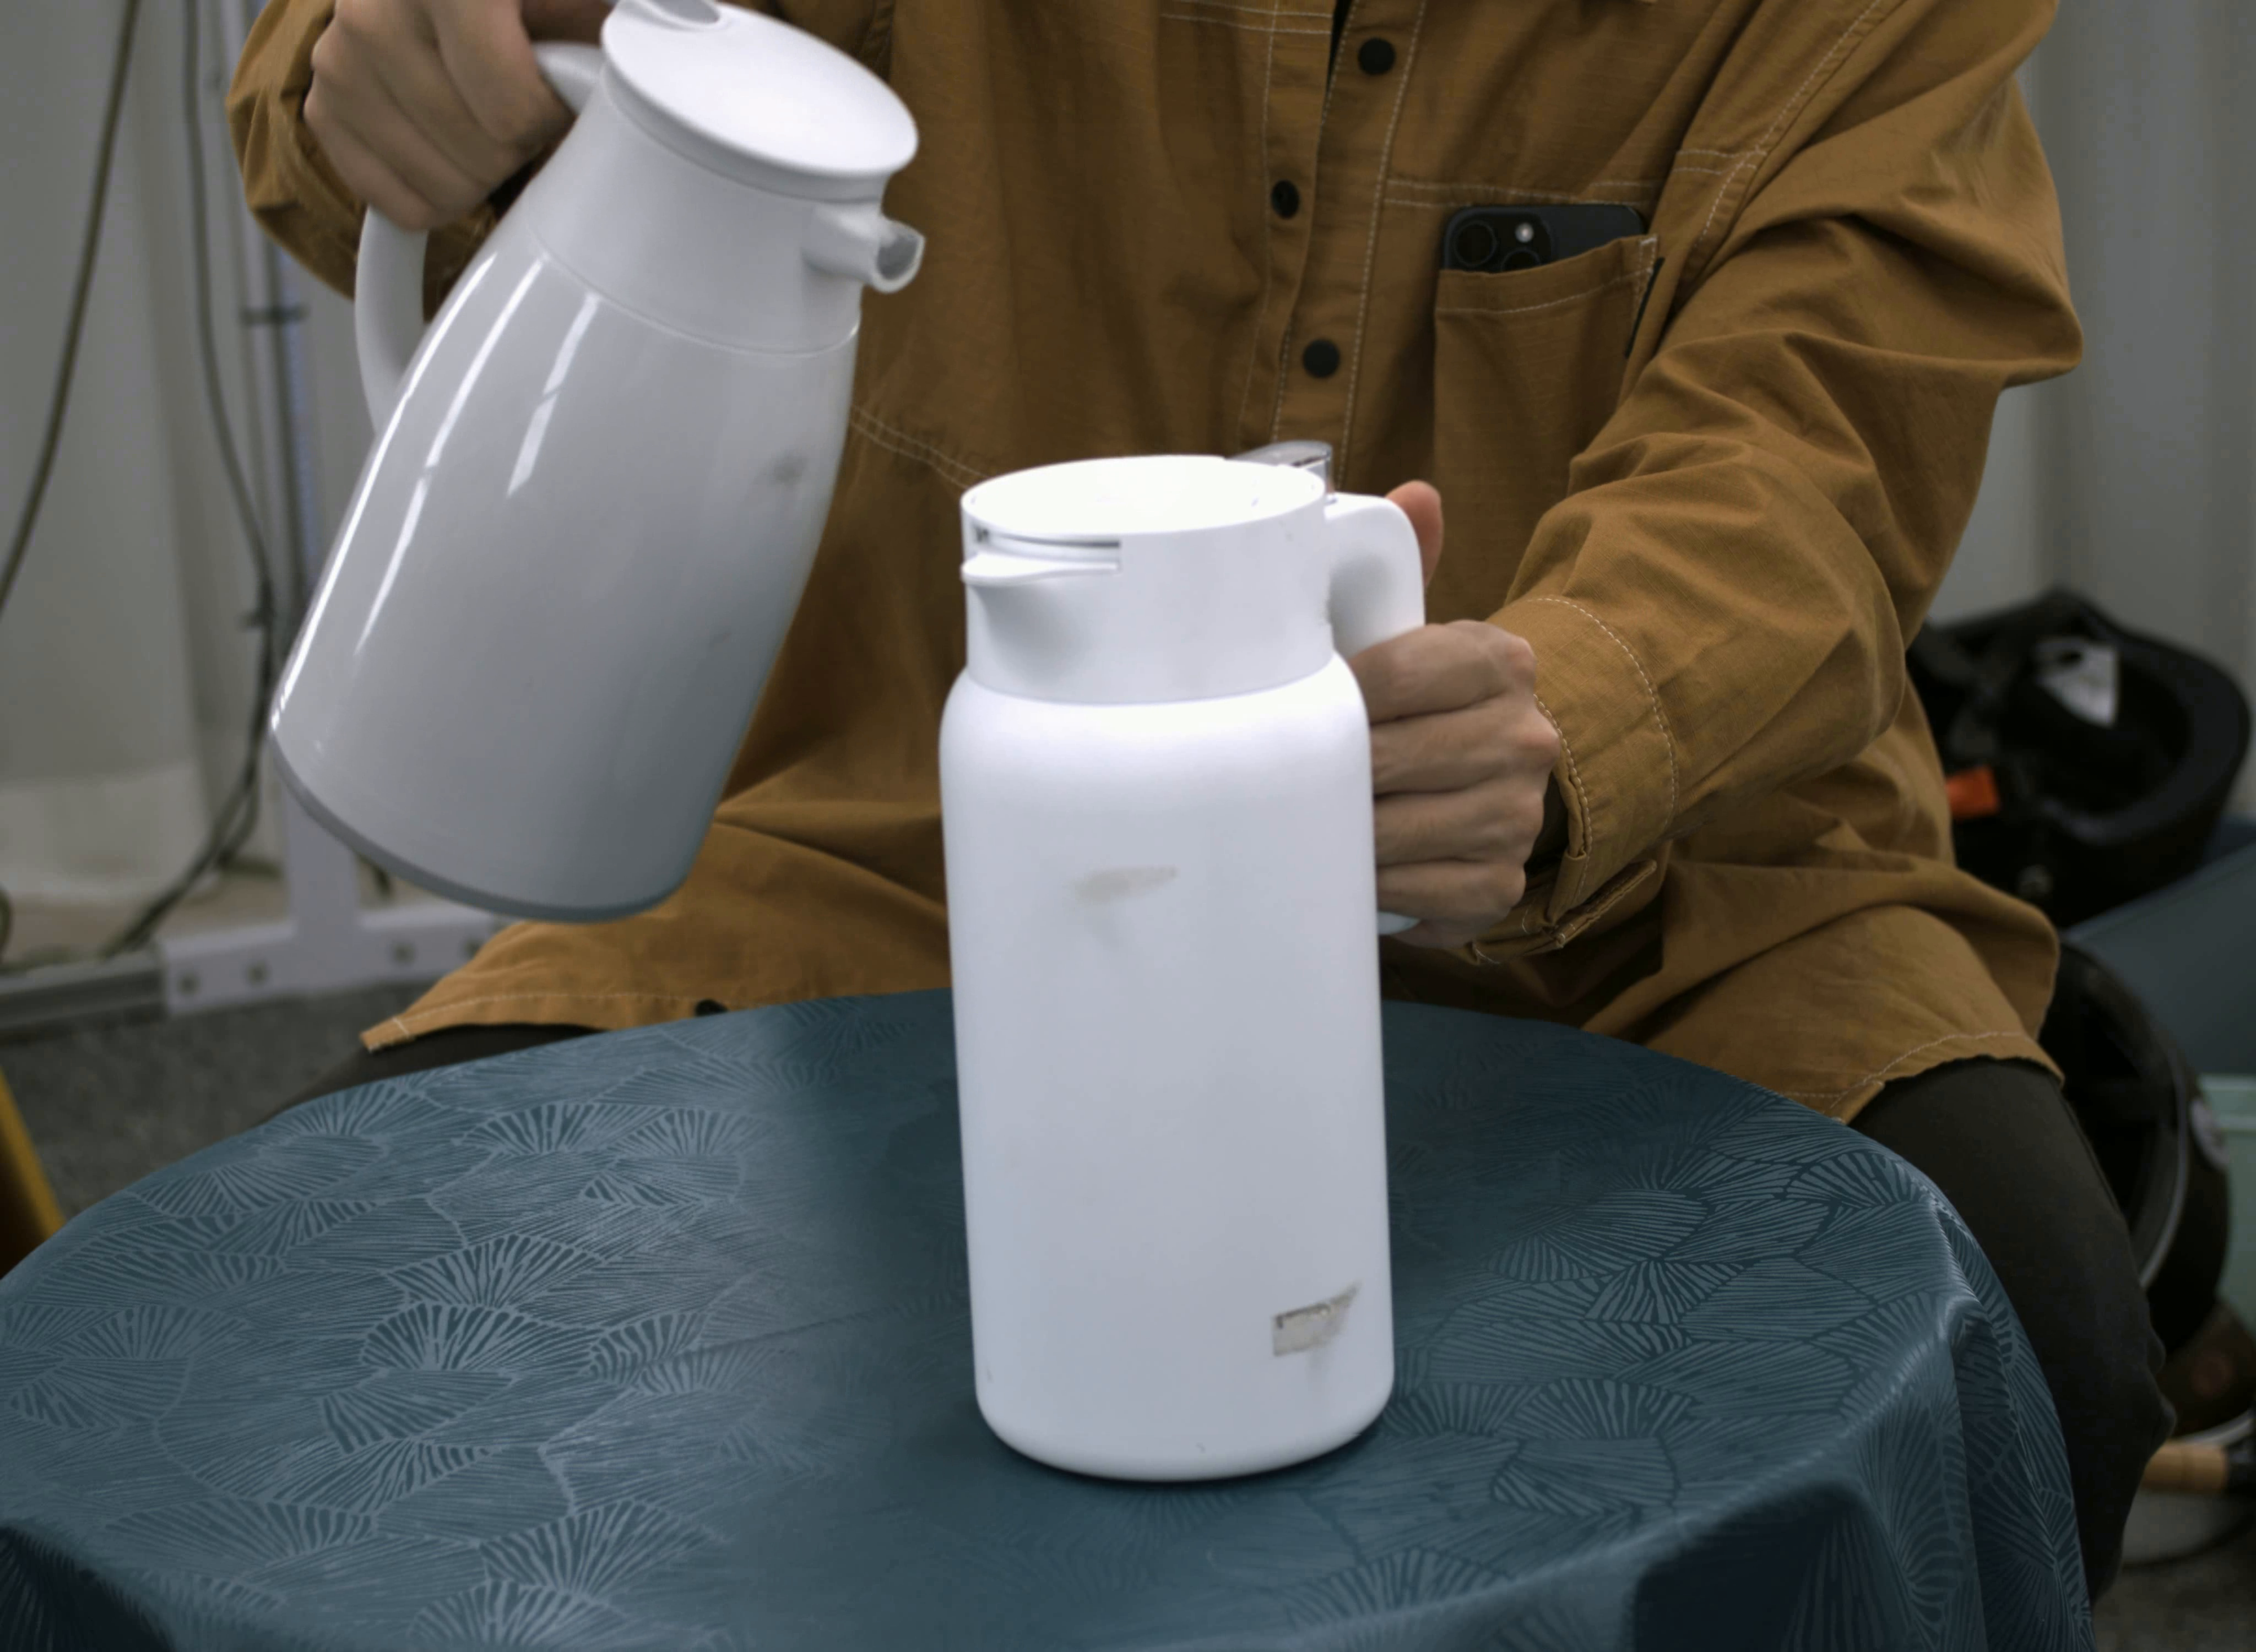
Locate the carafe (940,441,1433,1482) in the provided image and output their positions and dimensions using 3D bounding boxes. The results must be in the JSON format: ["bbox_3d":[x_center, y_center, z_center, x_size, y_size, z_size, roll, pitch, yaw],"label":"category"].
[{"bbox_3d":[0.020,0.032,1.505,0.124,0.268,0.172,6,16,40],"label":"carafe"}]

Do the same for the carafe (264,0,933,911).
[{"bbox_3d":[-0.157,-0.123,1.553,0.169,0.247,0.132,37,29,22],"label":"carafe"}]
